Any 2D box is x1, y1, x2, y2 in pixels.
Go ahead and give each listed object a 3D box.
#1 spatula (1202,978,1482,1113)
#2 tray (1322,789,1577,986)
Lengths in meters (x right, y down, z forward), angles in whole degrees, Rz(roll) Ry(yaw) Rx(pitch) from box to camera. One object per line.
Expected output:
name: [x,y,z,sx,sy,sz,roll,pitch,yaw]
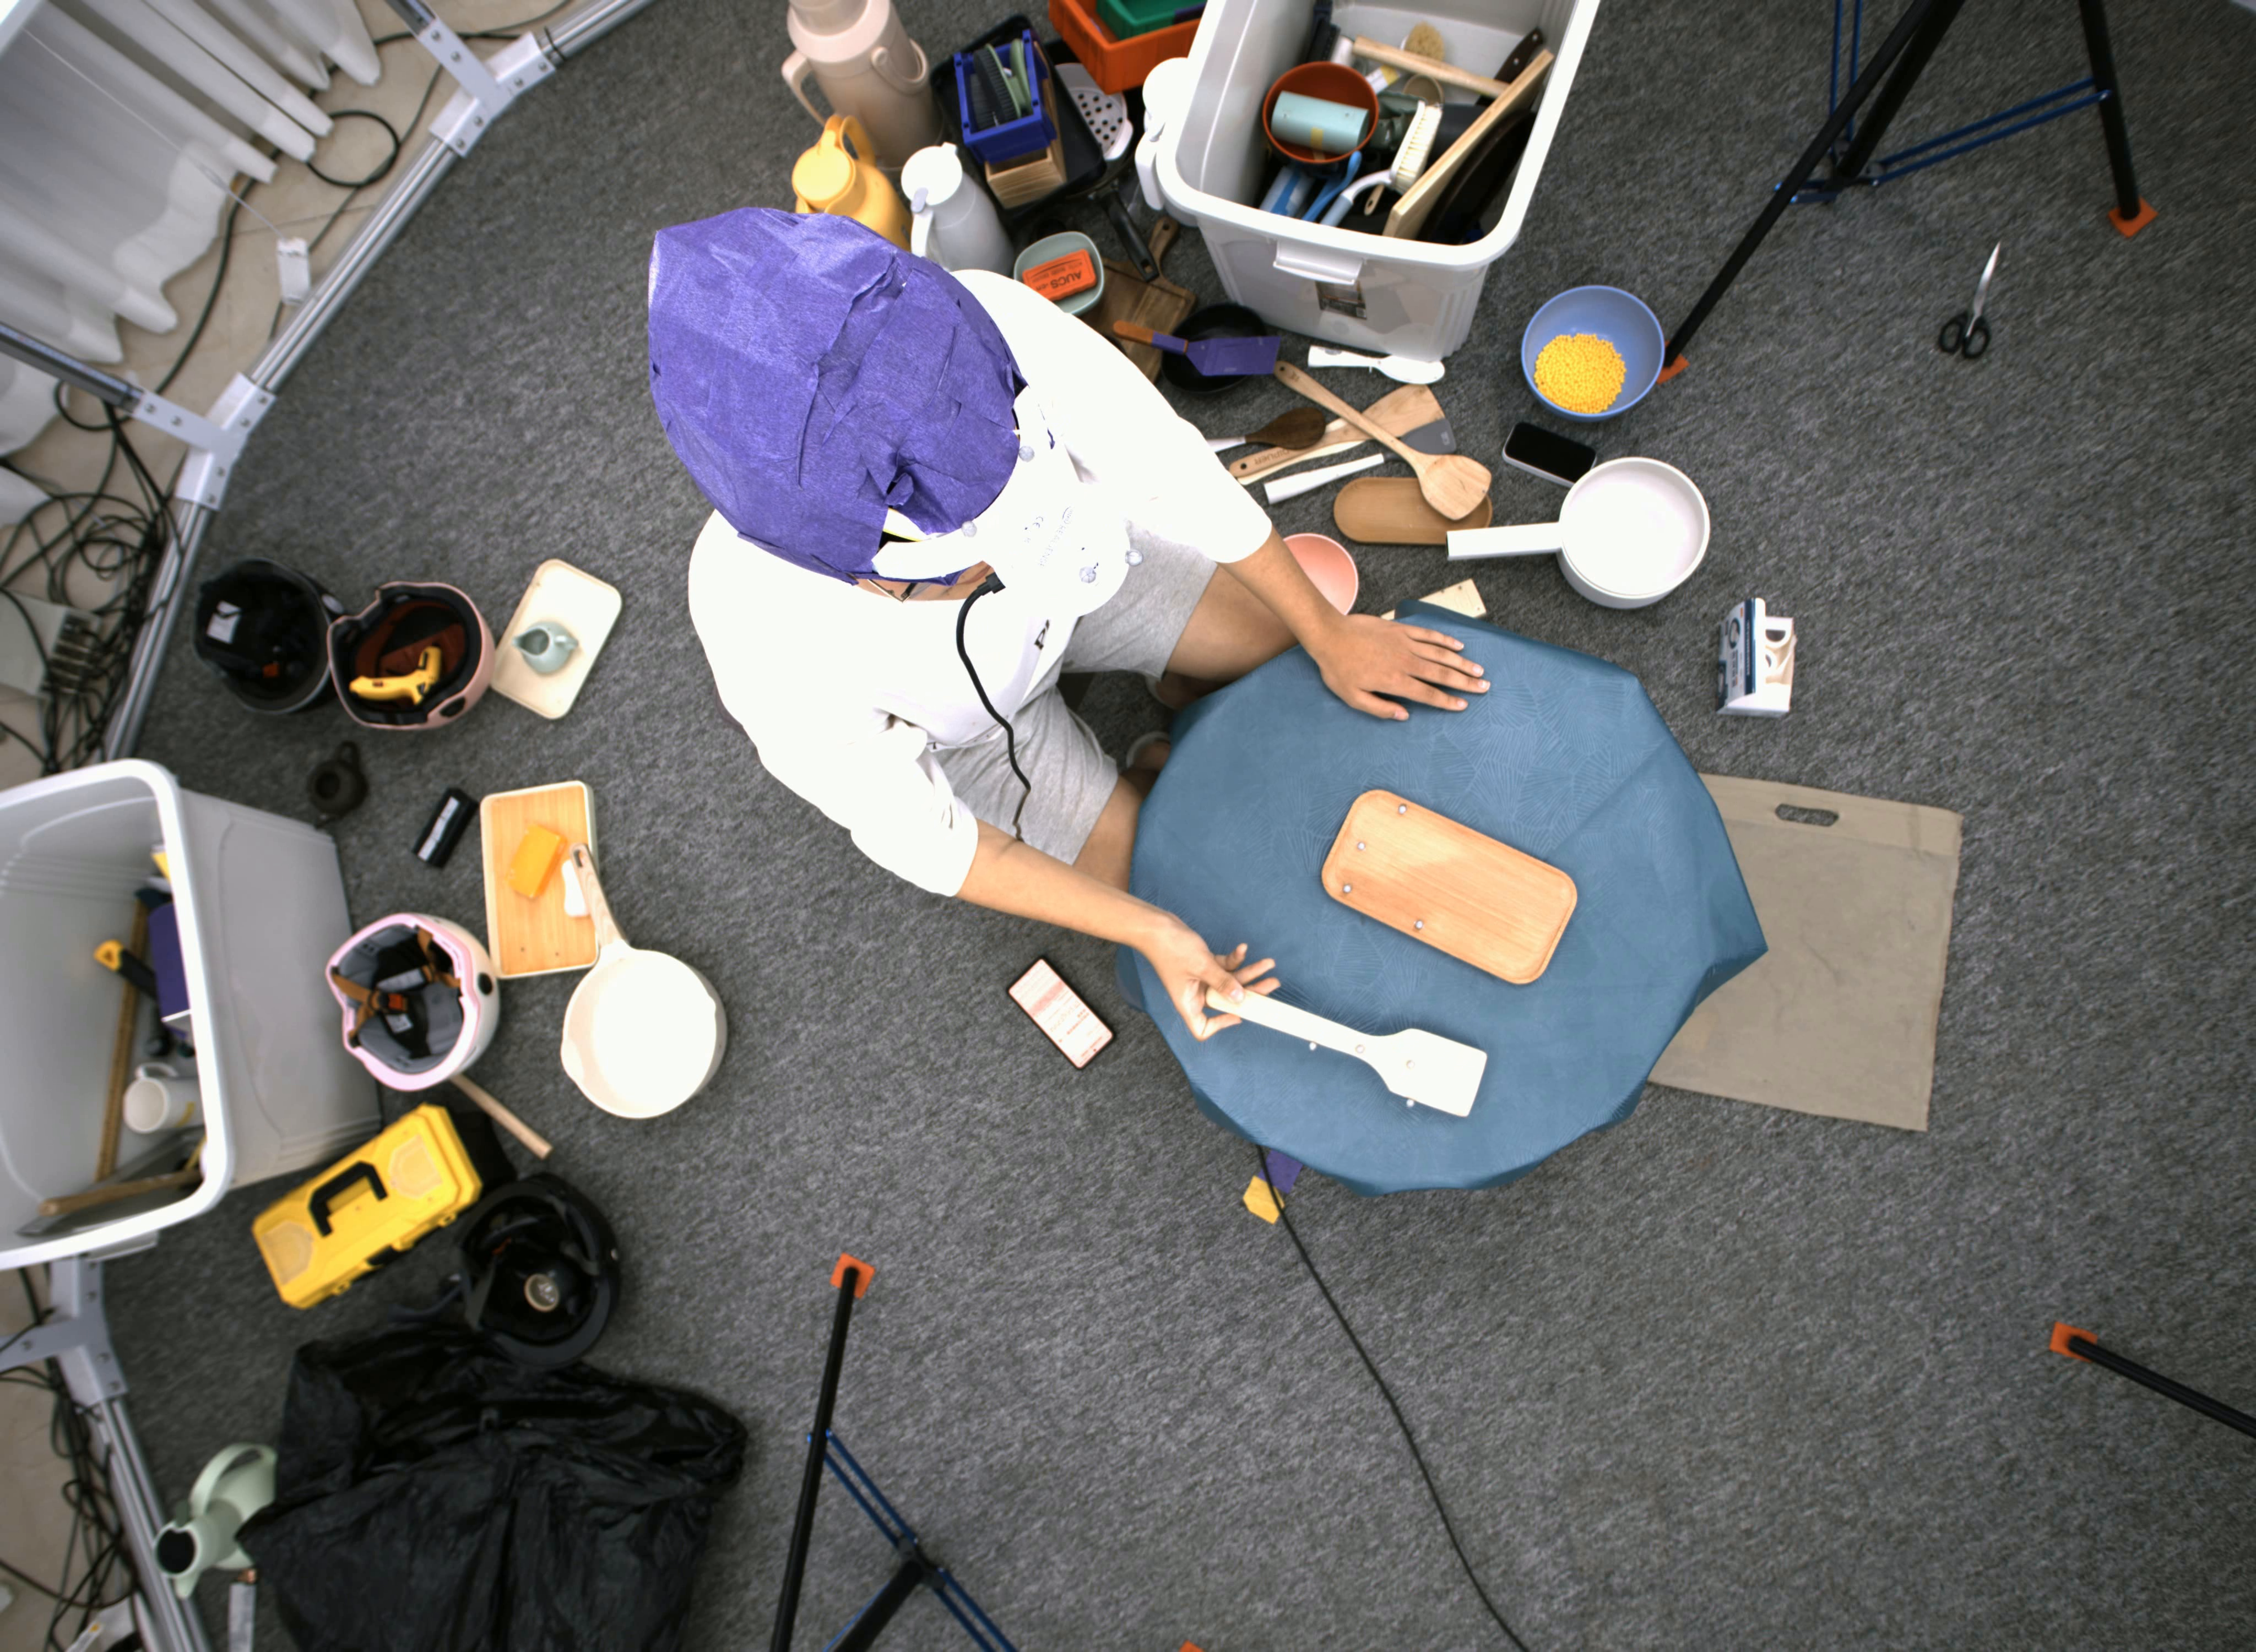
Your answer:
spatula: [0.214,0.213,1.406,0.293,0.011,0.072,19,87,-1]
tray: [0.334,0.062,1.440,0.250,0.023,0.131,27,94,11]
